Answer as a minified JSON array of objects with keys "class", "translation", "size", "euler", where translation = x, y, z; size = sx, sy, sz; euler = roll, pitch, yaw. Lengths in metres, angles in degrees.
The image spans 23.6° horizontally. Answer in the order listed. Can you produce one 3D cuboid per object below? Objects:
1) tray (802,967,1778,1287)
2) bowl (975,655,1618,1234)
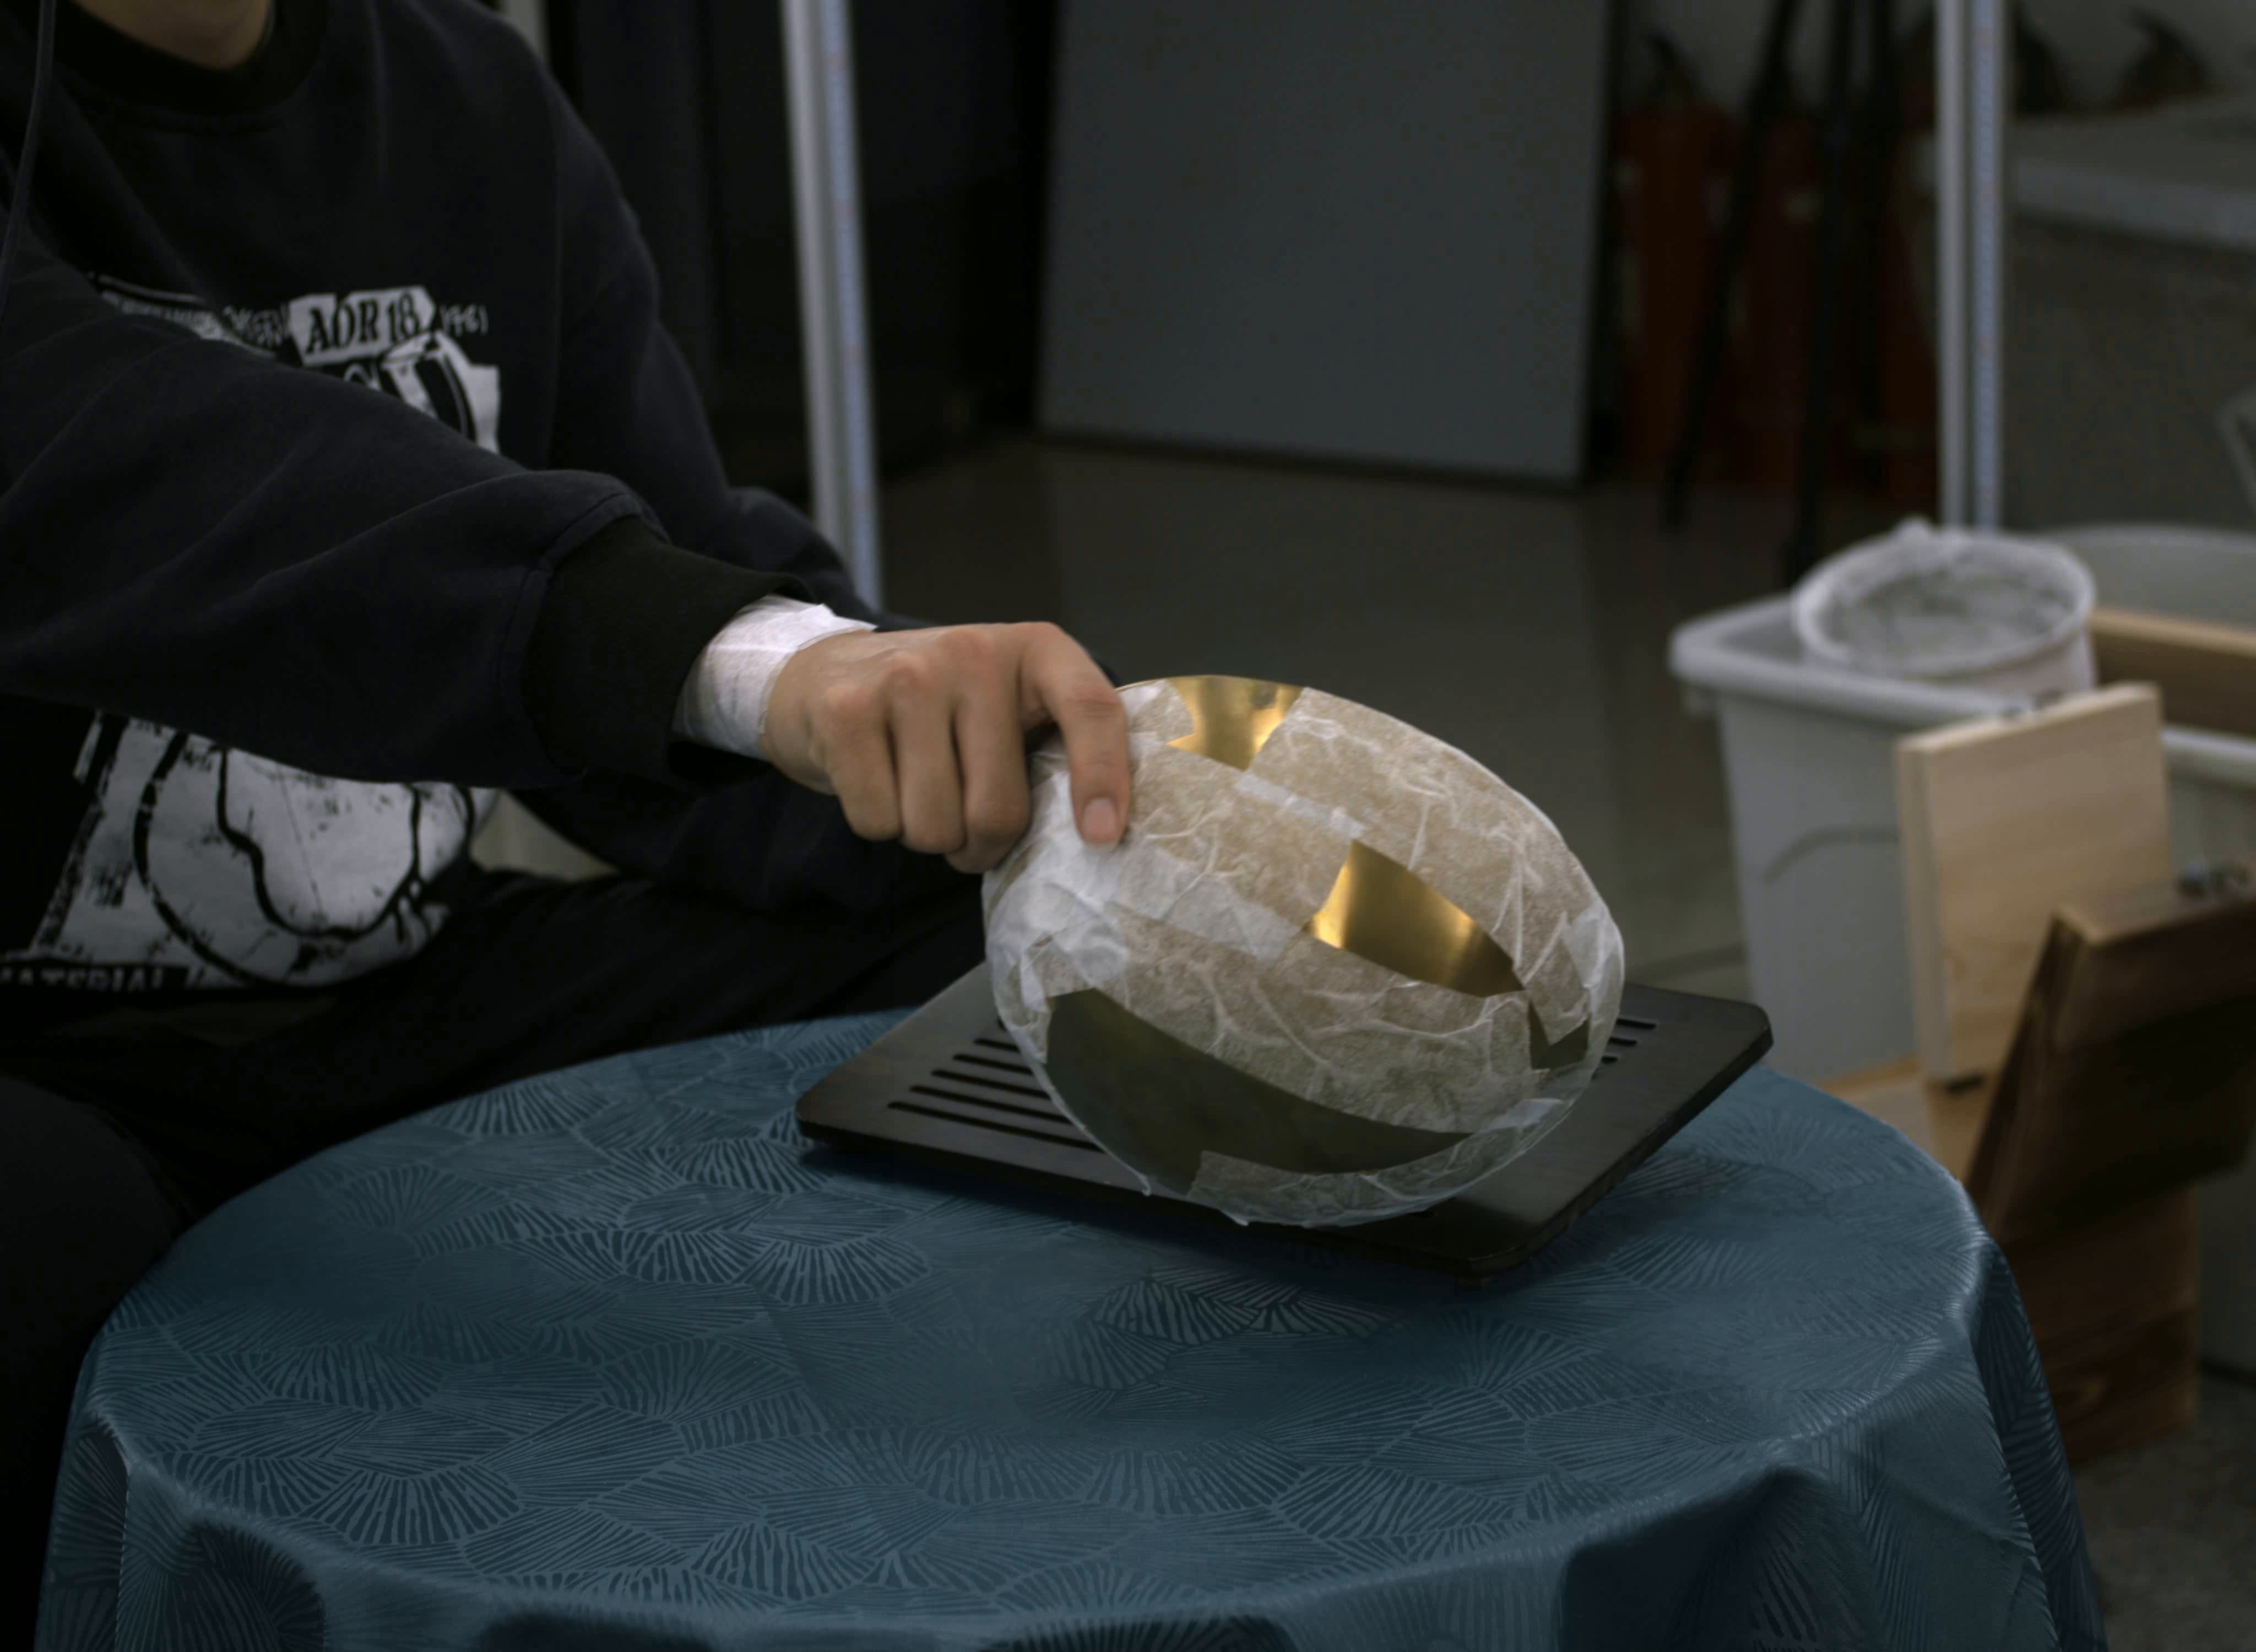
[{"class":"tray","translation":[0.051,0.085,1.789],"size":[0.308,0.019,0.168],"euler":[8,32,40]},{"class":"bowl","translation":[0.037,0.057,1.612],"size":[0.215,0.214,0.094],"euler":[4,48,26]}]
